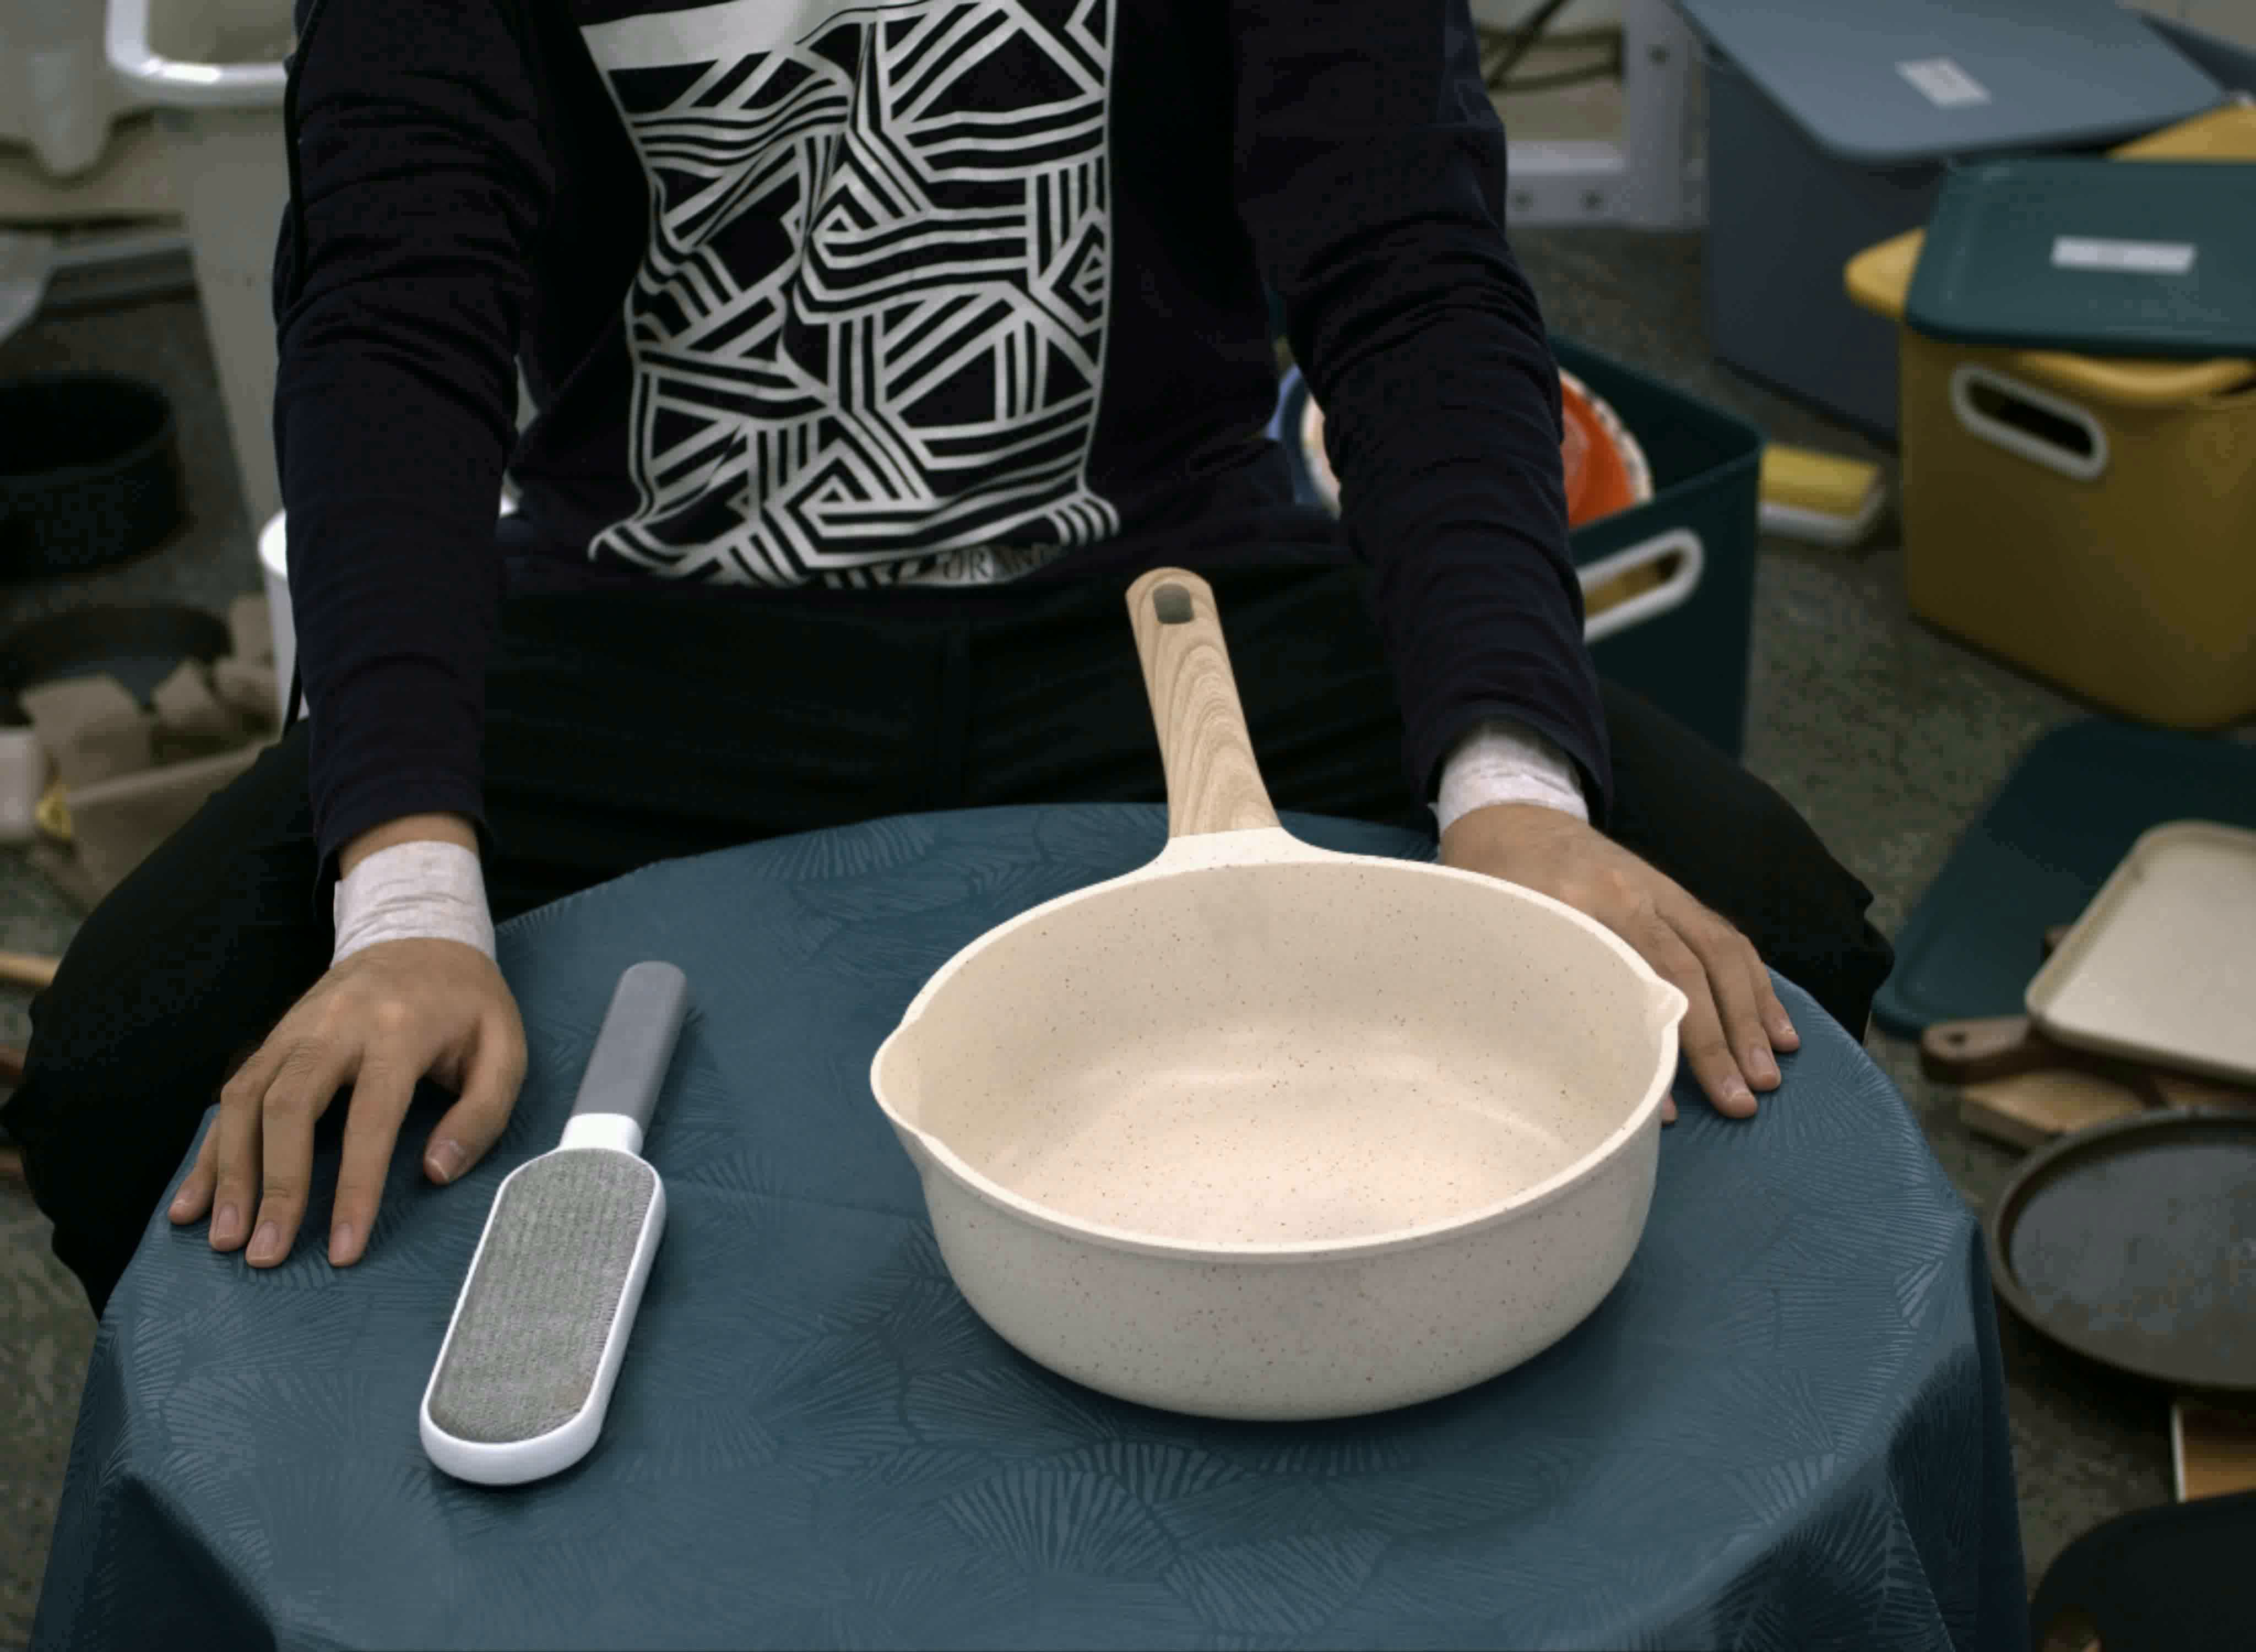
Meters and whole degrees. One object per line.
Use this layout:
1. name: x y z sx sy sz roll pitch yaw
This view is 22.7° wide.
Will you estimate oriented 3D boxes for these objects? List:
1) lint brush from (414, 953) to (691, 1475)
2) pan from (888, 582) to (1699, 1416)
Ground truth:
1. lint brush: -0.179 0.123 1.846 0.059 0.021 0.314 -4 27 8
2. pan: 0.045 0.053 1.884 0.262 0.101 0.440 -7 27 -4
